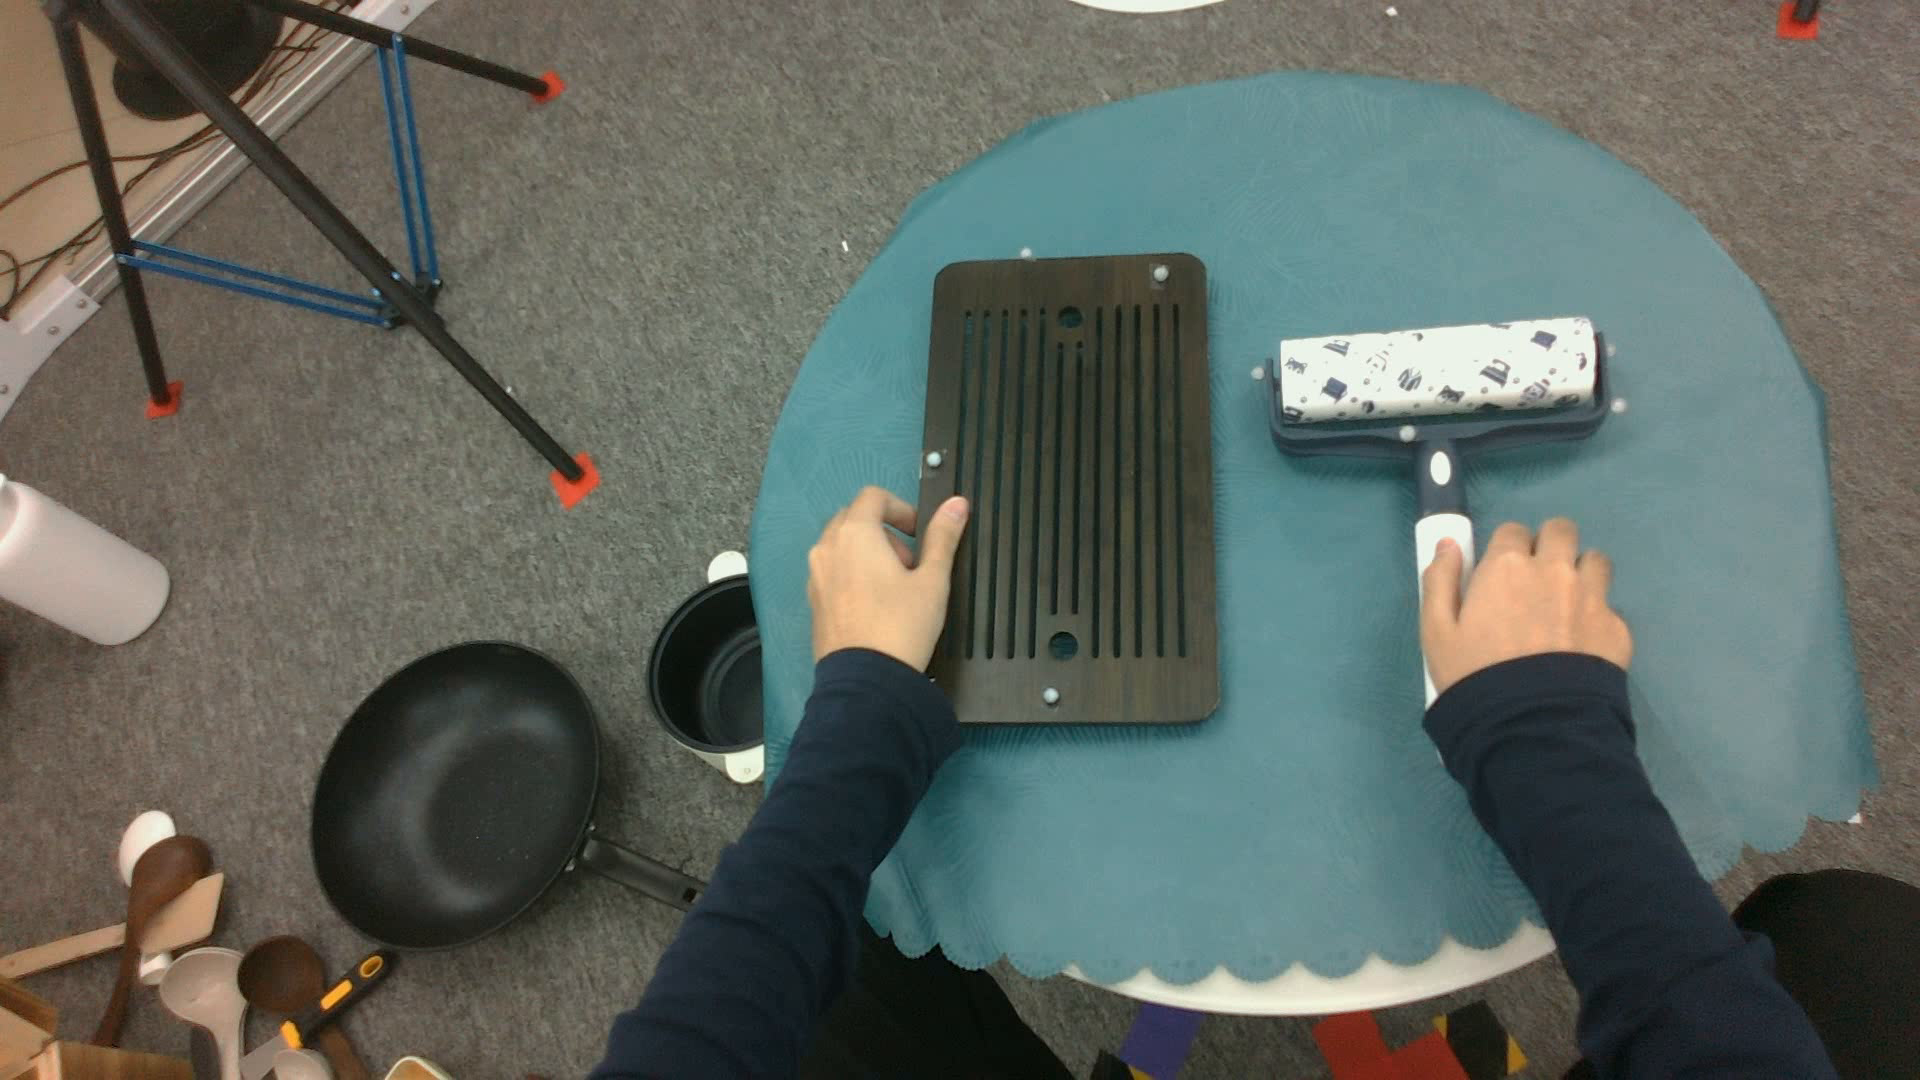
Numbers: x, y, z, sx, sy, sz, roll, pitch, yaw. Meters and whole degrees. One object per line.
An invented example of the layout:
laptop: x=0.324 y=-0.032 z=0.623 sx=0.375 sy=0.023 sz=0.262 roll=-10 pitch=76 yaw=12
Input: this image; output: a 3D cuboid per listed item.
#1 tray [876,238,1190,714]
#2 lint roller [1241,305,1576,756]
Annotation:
tray: x=0.044 y=-0.045 z=0.802 sx=0.170 sy=0.018 sz=0.307 roll=-1 pitch=64 yaw=8
lint roller: x=0.244 y=-0.011 z=0.731 sx=0.176 sy=0.050 sz=0.248 roll=-3 pitch=67 yaw=11
